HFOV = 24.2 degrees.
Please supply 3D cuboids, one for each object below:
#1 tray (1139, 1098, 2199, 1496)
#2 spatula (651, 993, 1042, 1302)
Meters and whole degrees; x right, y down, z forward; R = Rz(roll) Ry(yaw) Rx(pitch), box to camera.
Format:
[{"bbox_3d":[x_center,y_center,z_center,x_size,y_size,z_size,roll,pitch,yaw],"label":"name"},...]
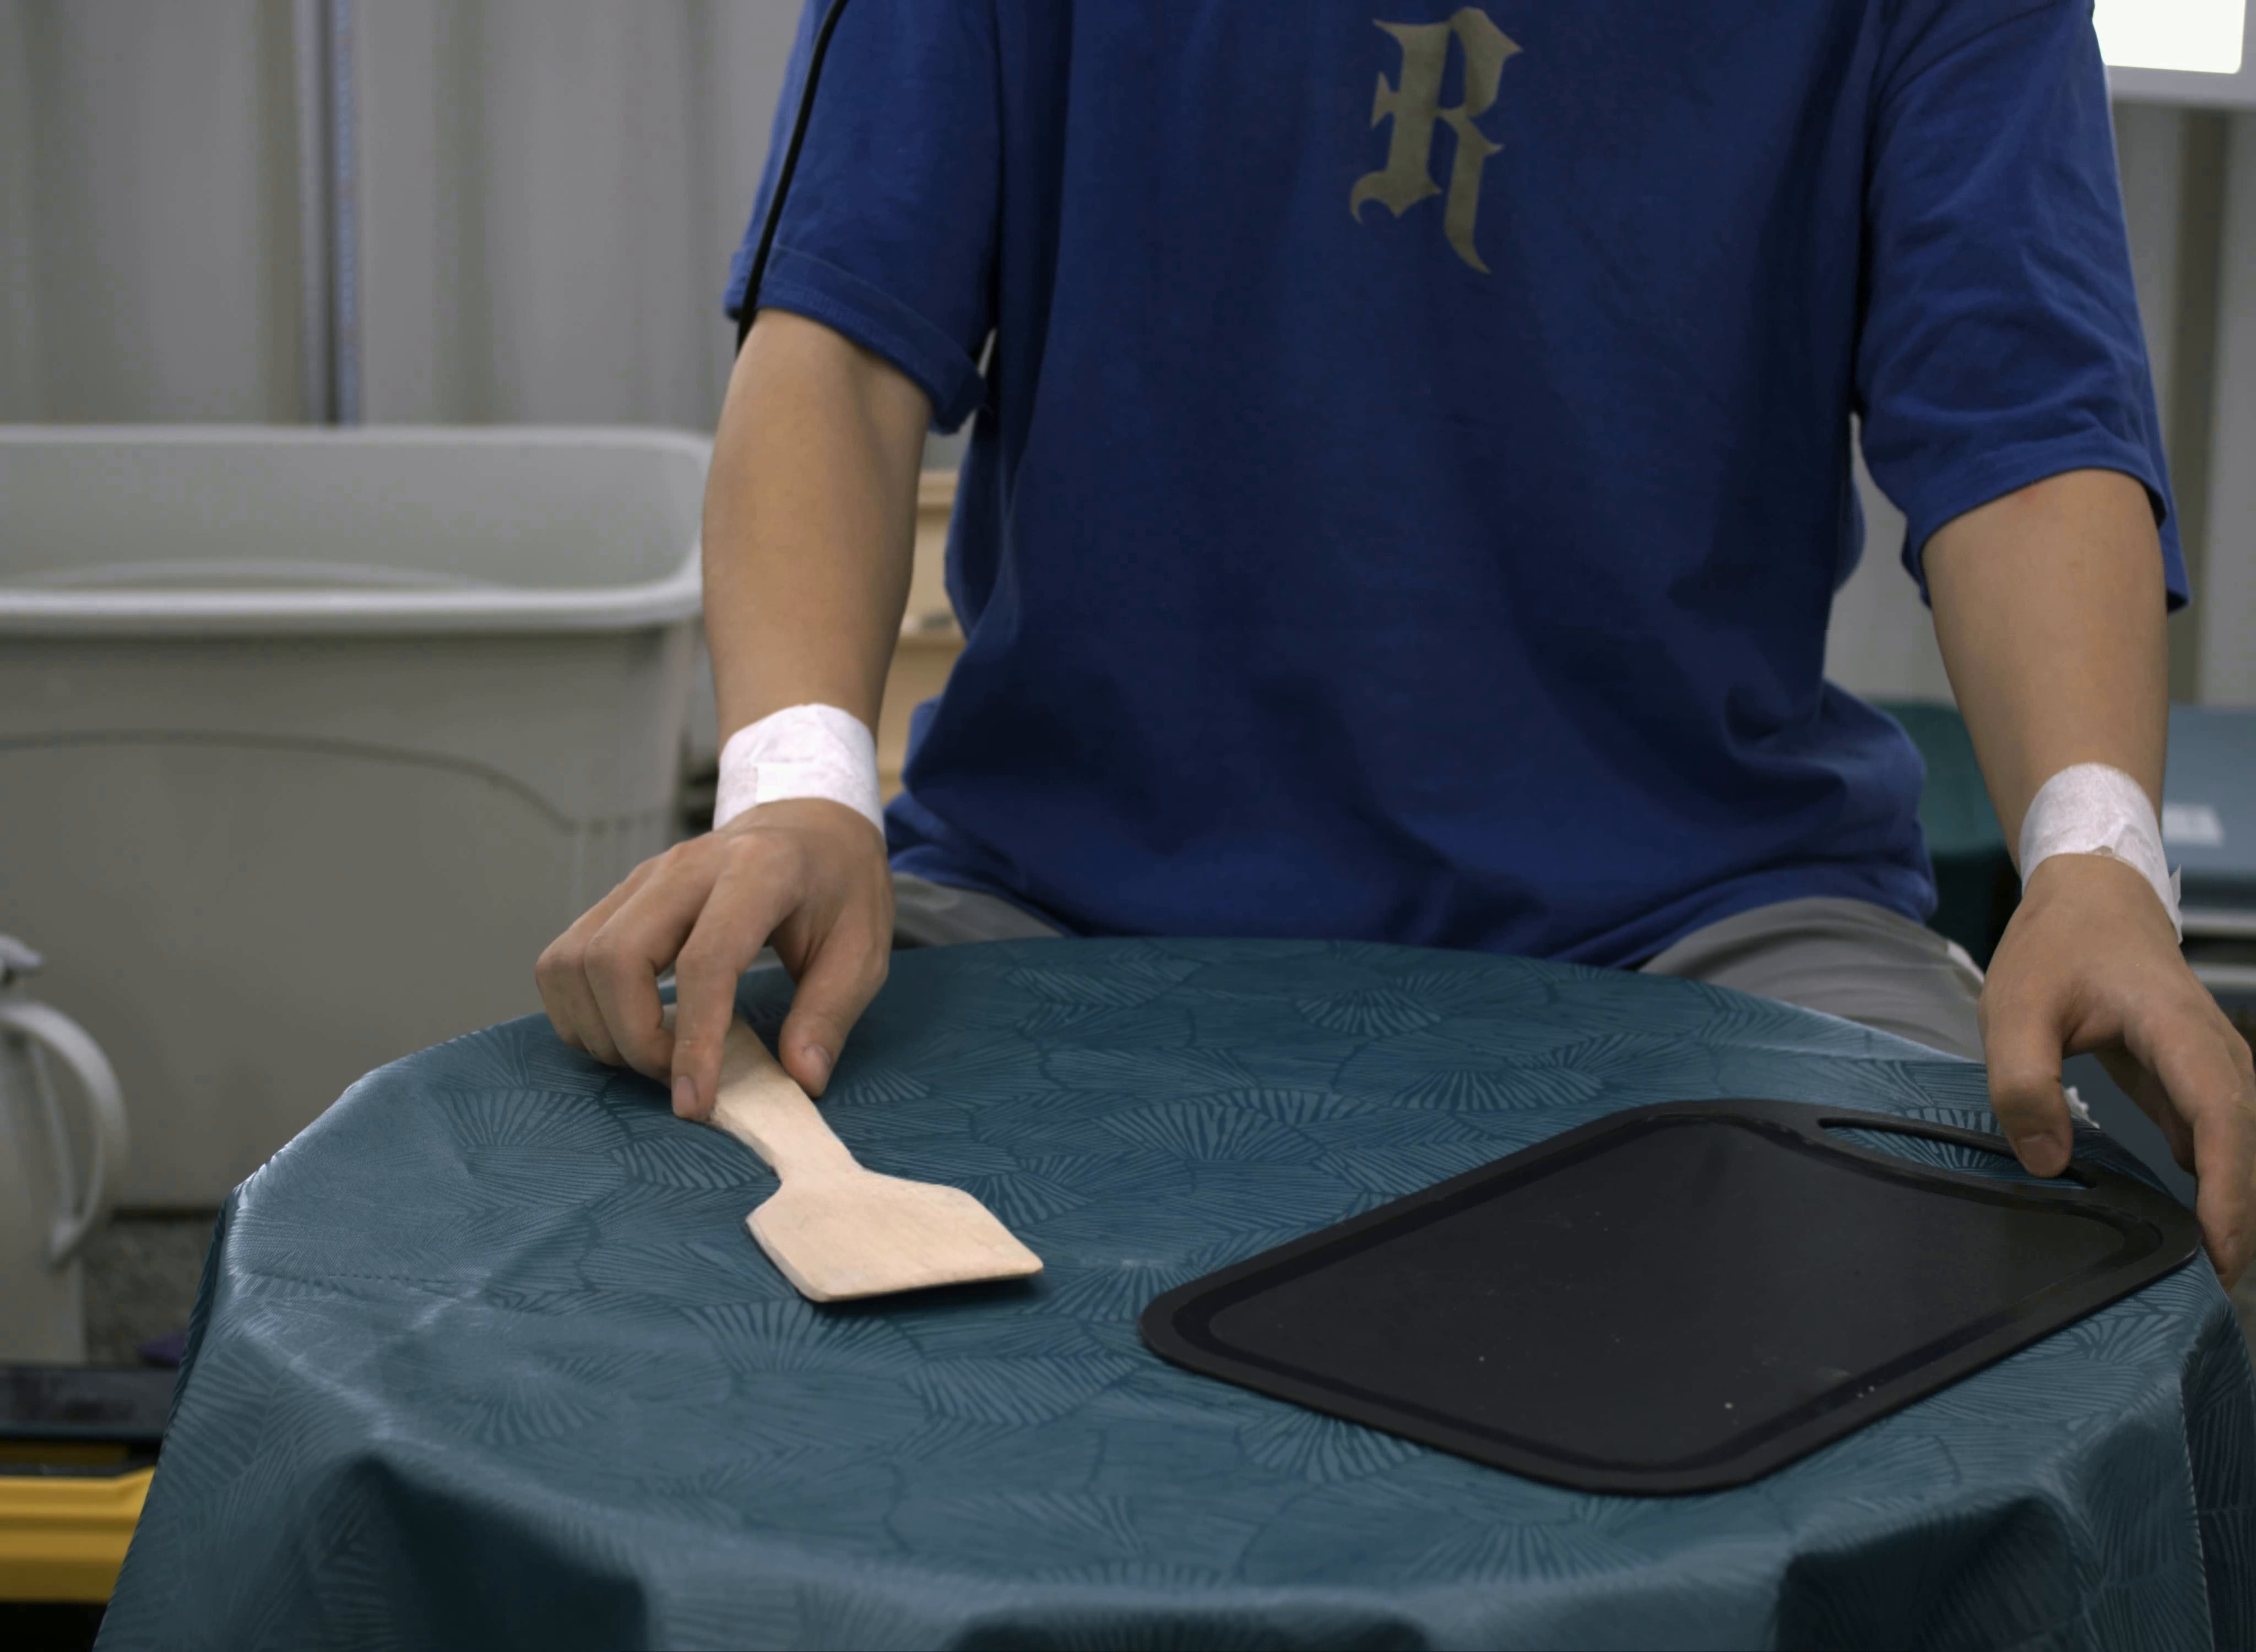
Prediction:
[{"bbox_3d":[0.168,0.129,1.554,0.208,0.010,0.327,14,20,39],"label":"tray"},{"bbox_3d":[-0.104,0.098,1.653,0.072,0.011,0.290,-6,17,-18],"label":"spatula"}]
